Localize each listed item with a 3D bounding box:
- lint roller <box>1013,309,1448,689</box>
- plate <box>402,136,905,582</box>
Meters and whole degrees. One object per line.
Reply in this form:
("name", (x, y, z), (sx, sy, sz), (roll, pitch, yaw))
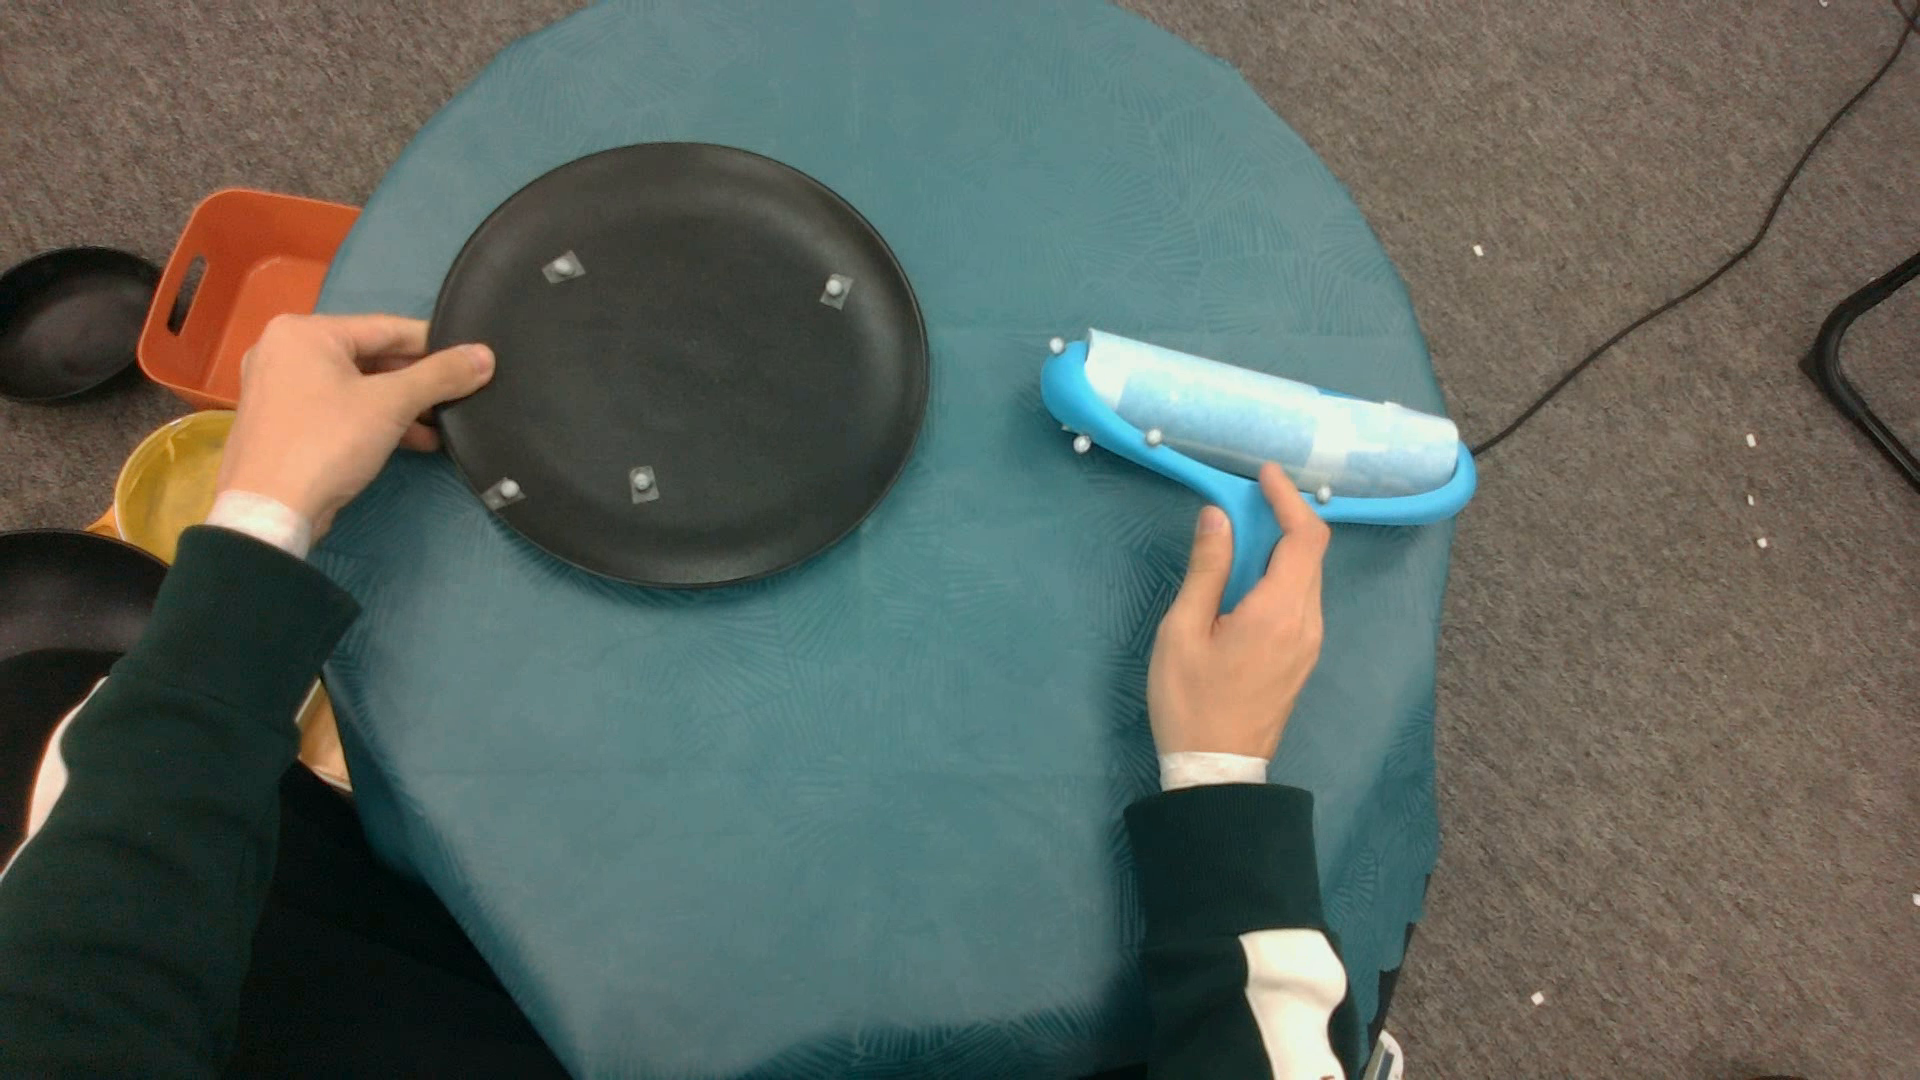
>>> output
("lint roller", (0.133, -0.018, 0.692), (0.229, 0.067, 0.181), (9, 71, -7))
("plate", (-0.150, -0.093, 0.692), (0.244, 0.023, 0.245), (3, 71, -9))
